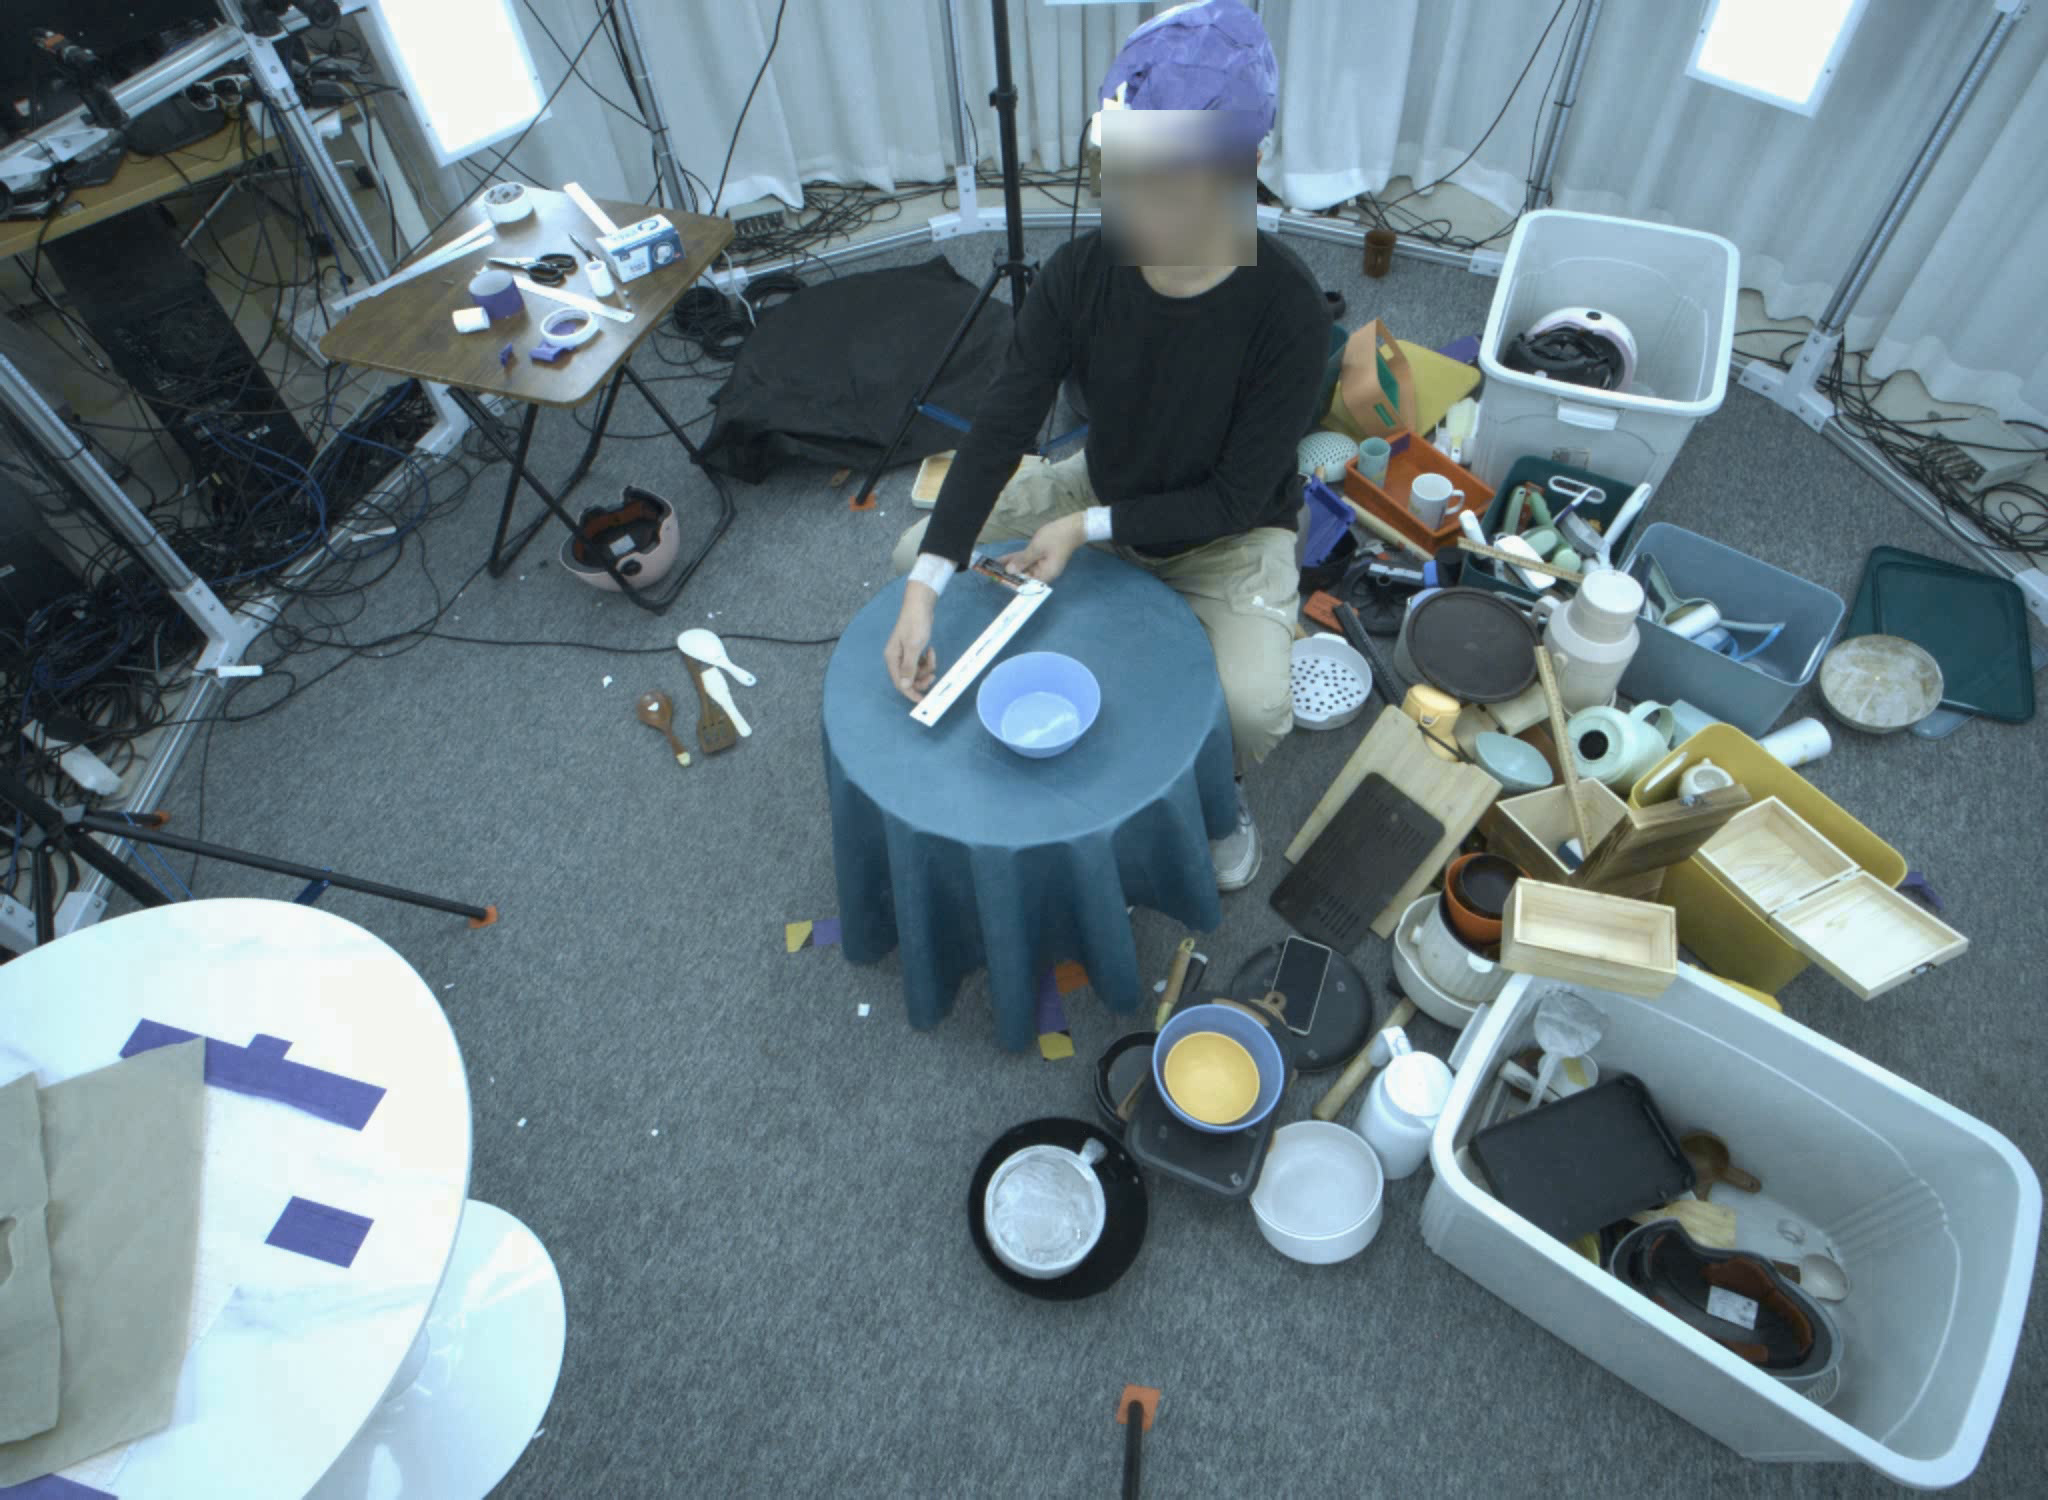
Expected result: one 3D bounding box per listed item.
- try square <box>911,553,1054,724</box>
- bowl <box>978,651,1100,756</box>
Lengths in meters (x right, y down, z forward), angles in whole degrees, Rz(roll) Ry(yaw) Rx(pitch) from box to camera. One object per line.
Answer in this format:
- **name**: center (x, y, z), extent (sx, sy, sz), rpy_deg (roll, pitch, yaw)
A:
- **try square**: center (-0.102, -0.176, 1.869), extent (0.149, 0.016, 0.314), rpy_deg (28, 62, 25)
- **bowl**: center (0.023, -0.056, 1.784), extent (0.176, 0.071, 0.174), rpy_deg (-1, 55, 2)
